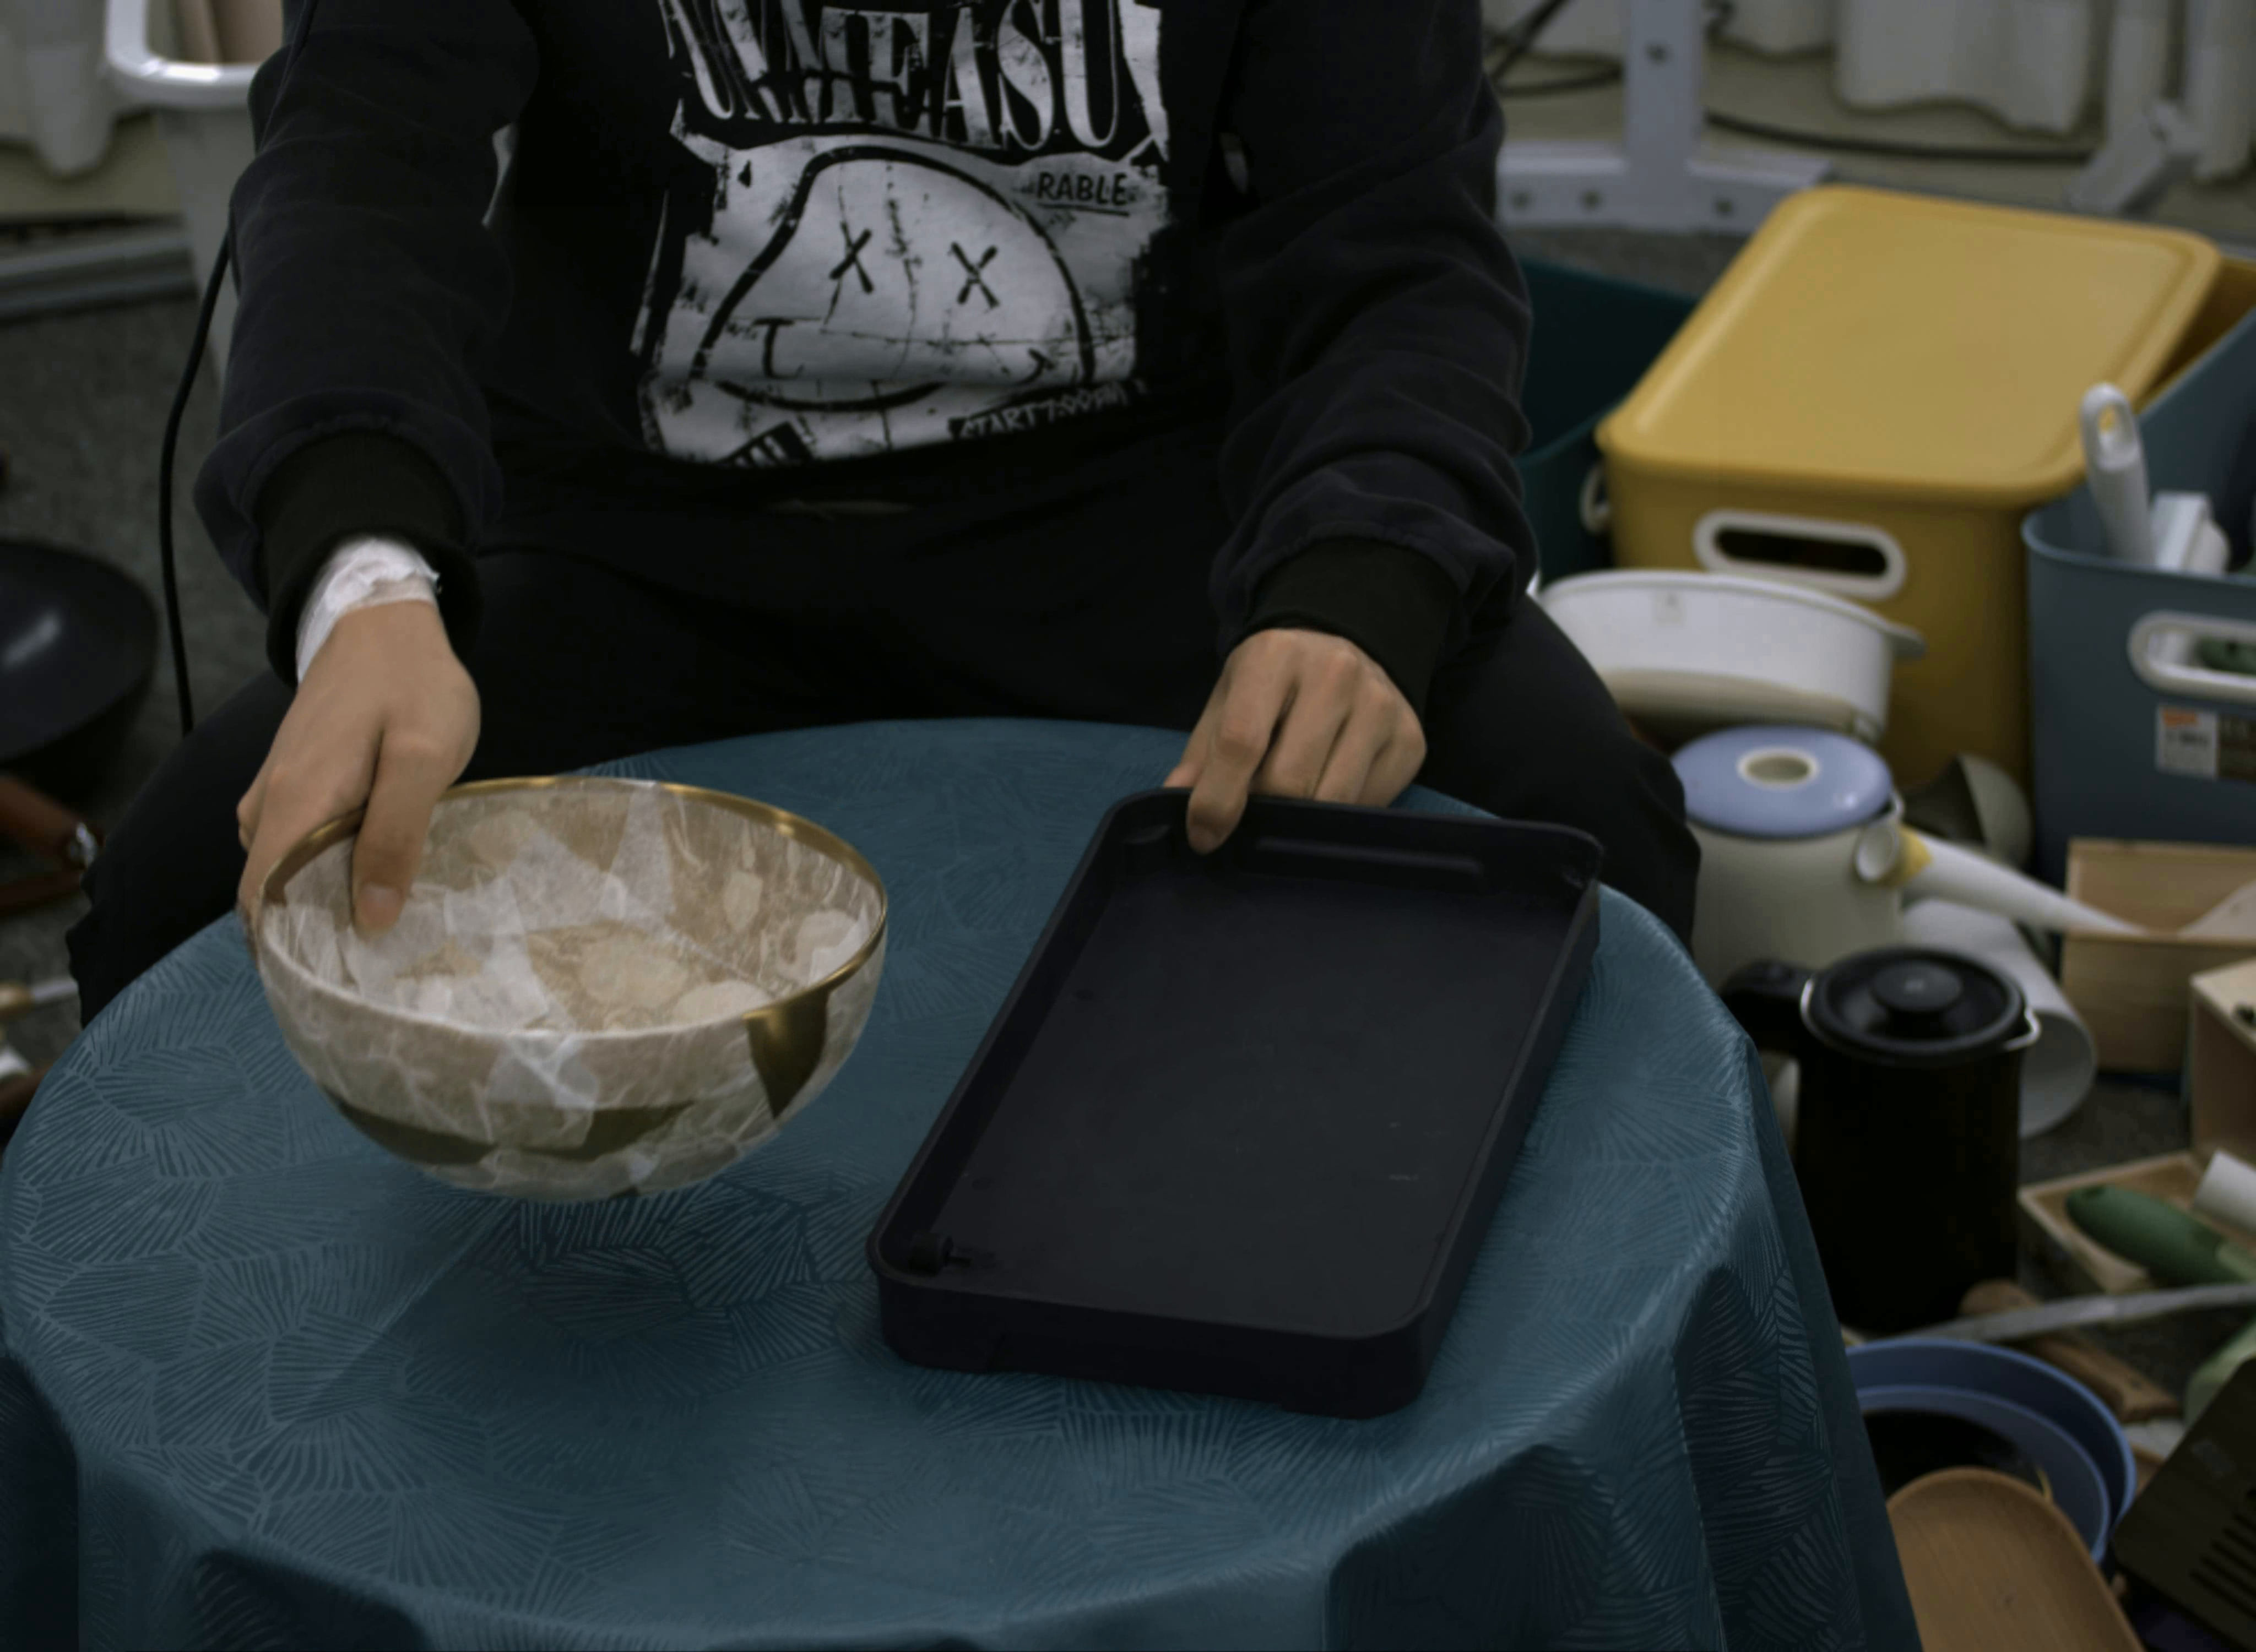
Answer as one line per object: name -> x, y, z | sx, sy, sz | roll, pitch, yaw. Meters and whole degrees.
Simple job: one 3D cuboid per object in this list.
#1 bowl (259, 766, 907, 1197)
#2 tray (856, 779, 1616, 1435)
bowl -> -0.172, 0.060, 1.794 | 0.214, 0.094, 0.217 | 2, 22, 0
tray -> 0.043, 0.086, 1.877 | 0.183, 0.036, 0.324 | 7, 32, 16
